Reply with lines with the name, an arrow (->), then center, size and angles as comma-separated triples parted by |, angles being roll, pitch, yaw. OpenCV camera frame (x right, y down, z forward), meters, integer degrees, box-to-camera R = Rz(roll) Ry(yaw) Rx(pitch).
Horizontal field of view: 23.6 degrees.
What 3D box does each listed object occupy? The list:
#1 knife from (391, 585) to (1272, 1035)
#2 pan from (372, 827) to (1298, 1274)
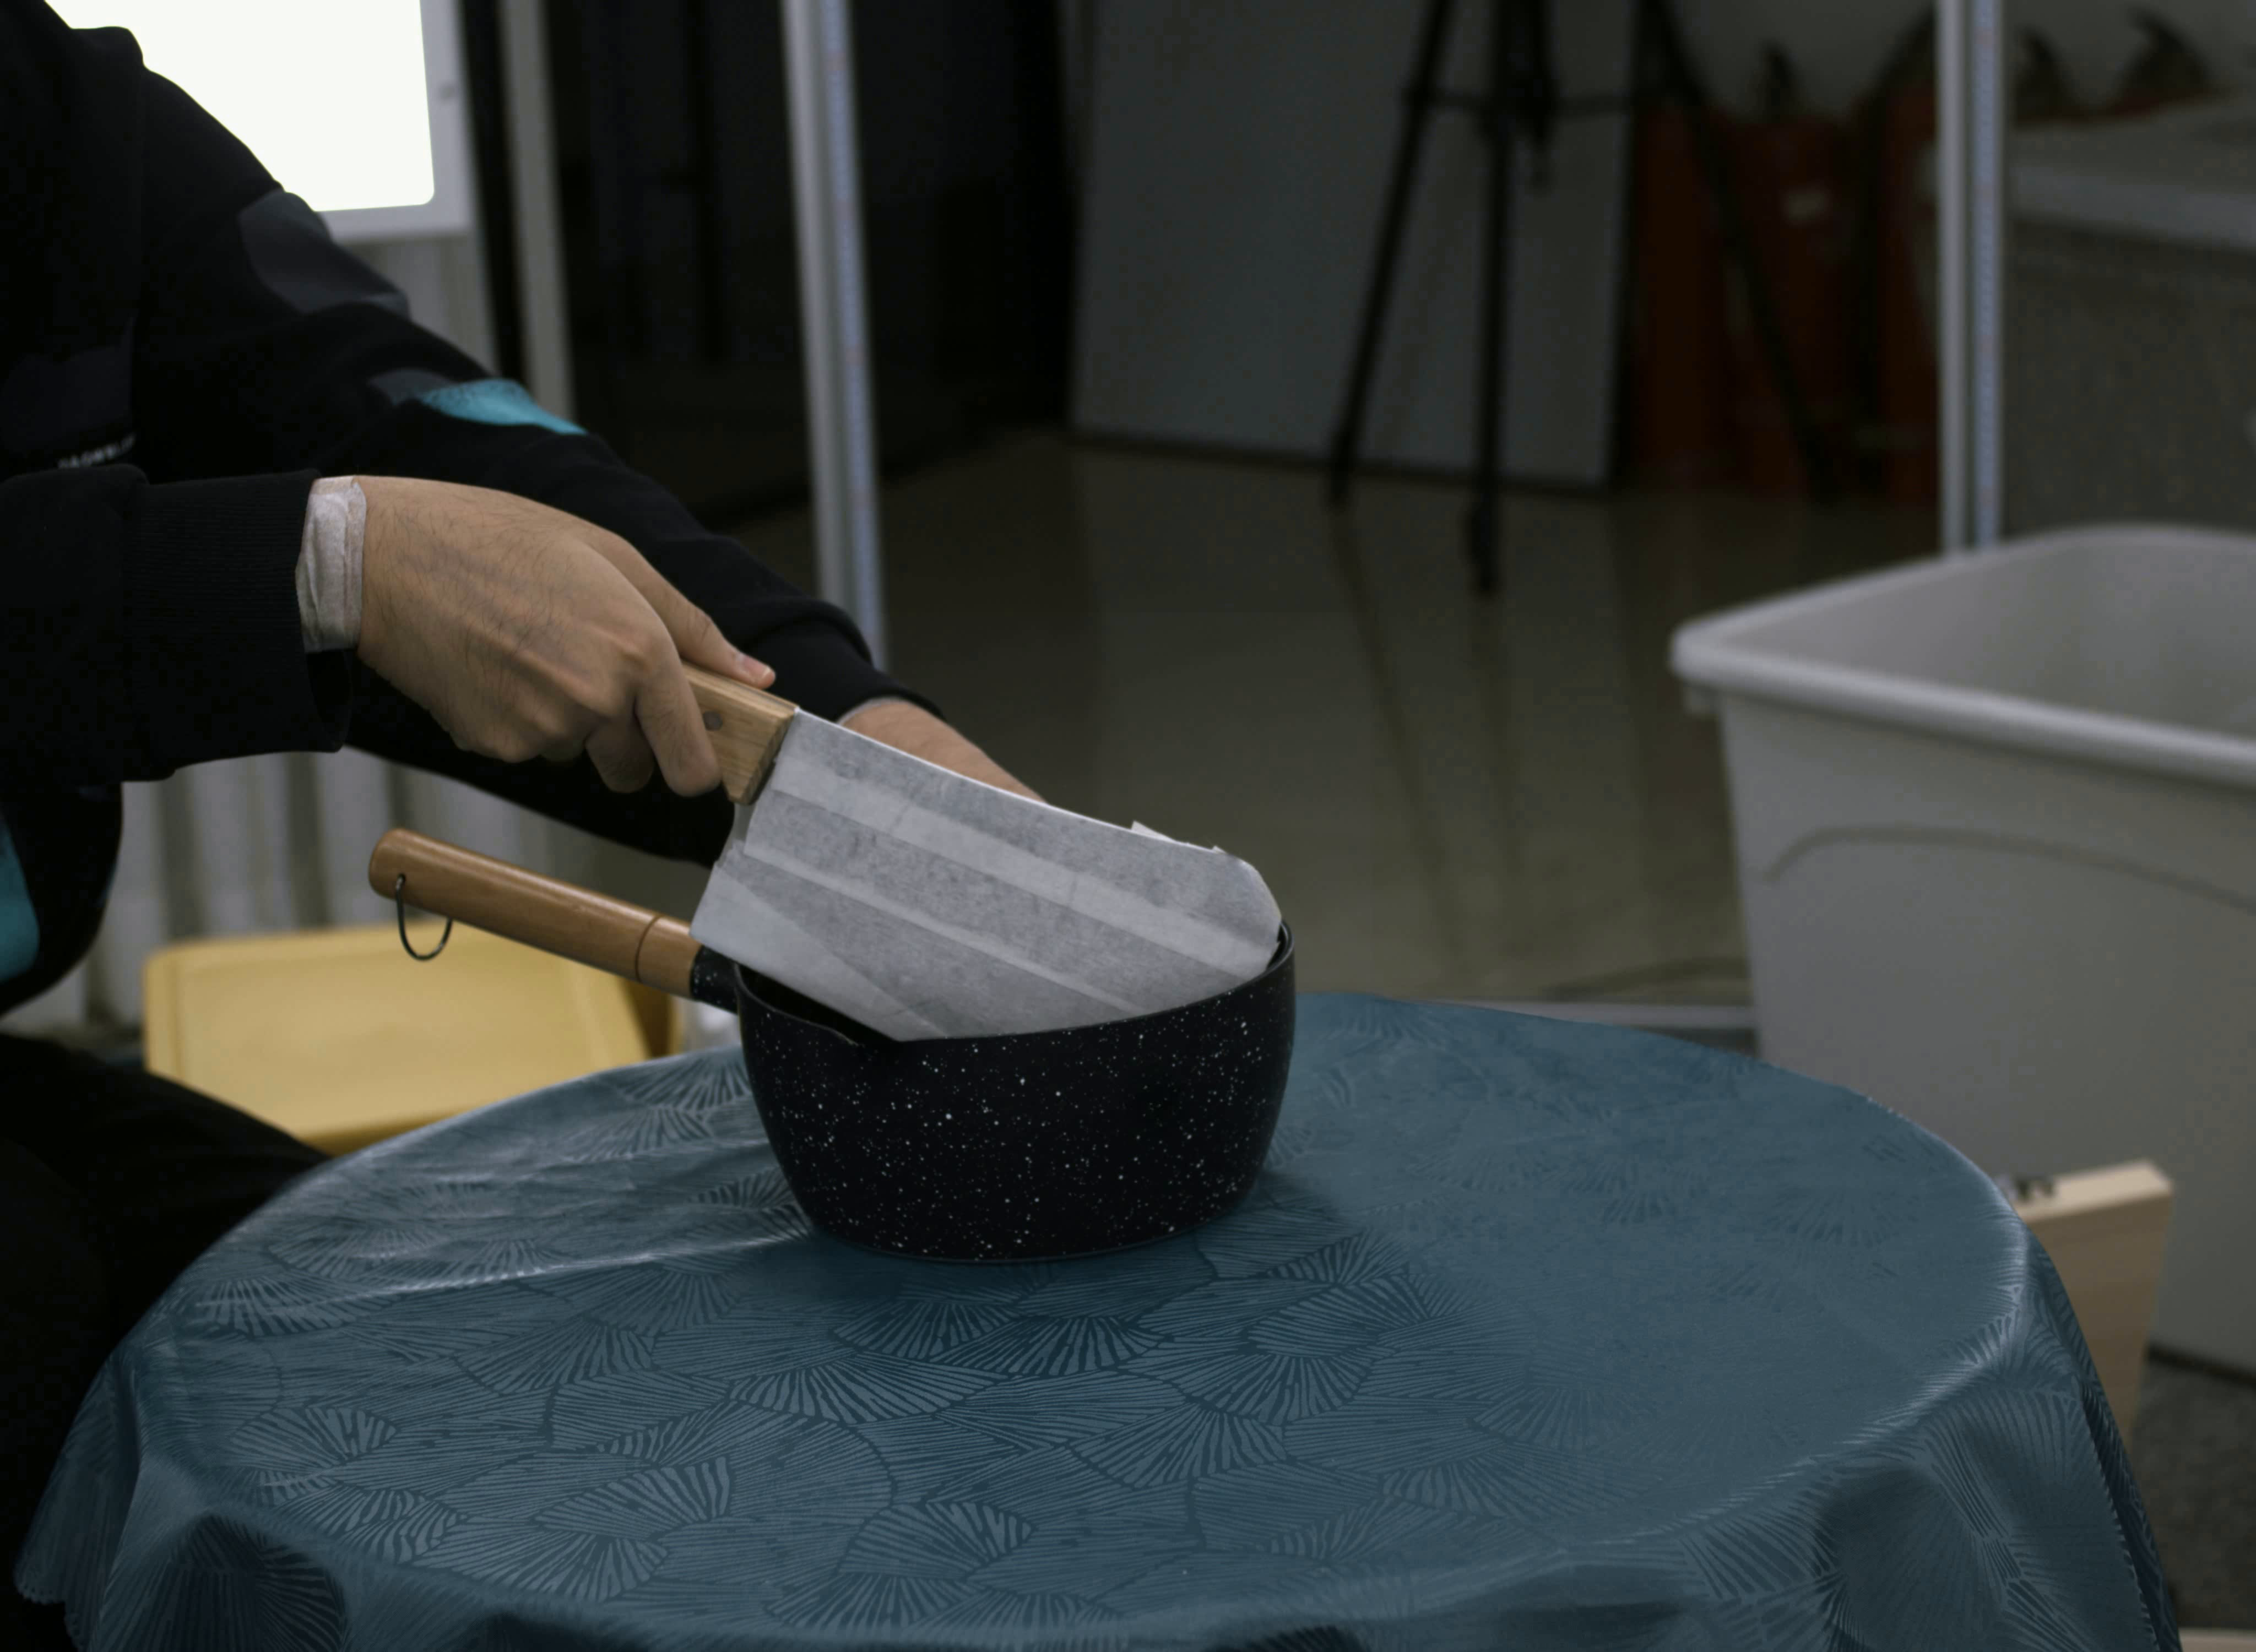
knife -> -0.097, 0.000, 1.750 | 0.313, 0.115, 0.021 | 26, 12, 5
pan -> -0.105, 0.066, 1.798 | 0.343, 0.109, 0.205 | 4, 17, 26
